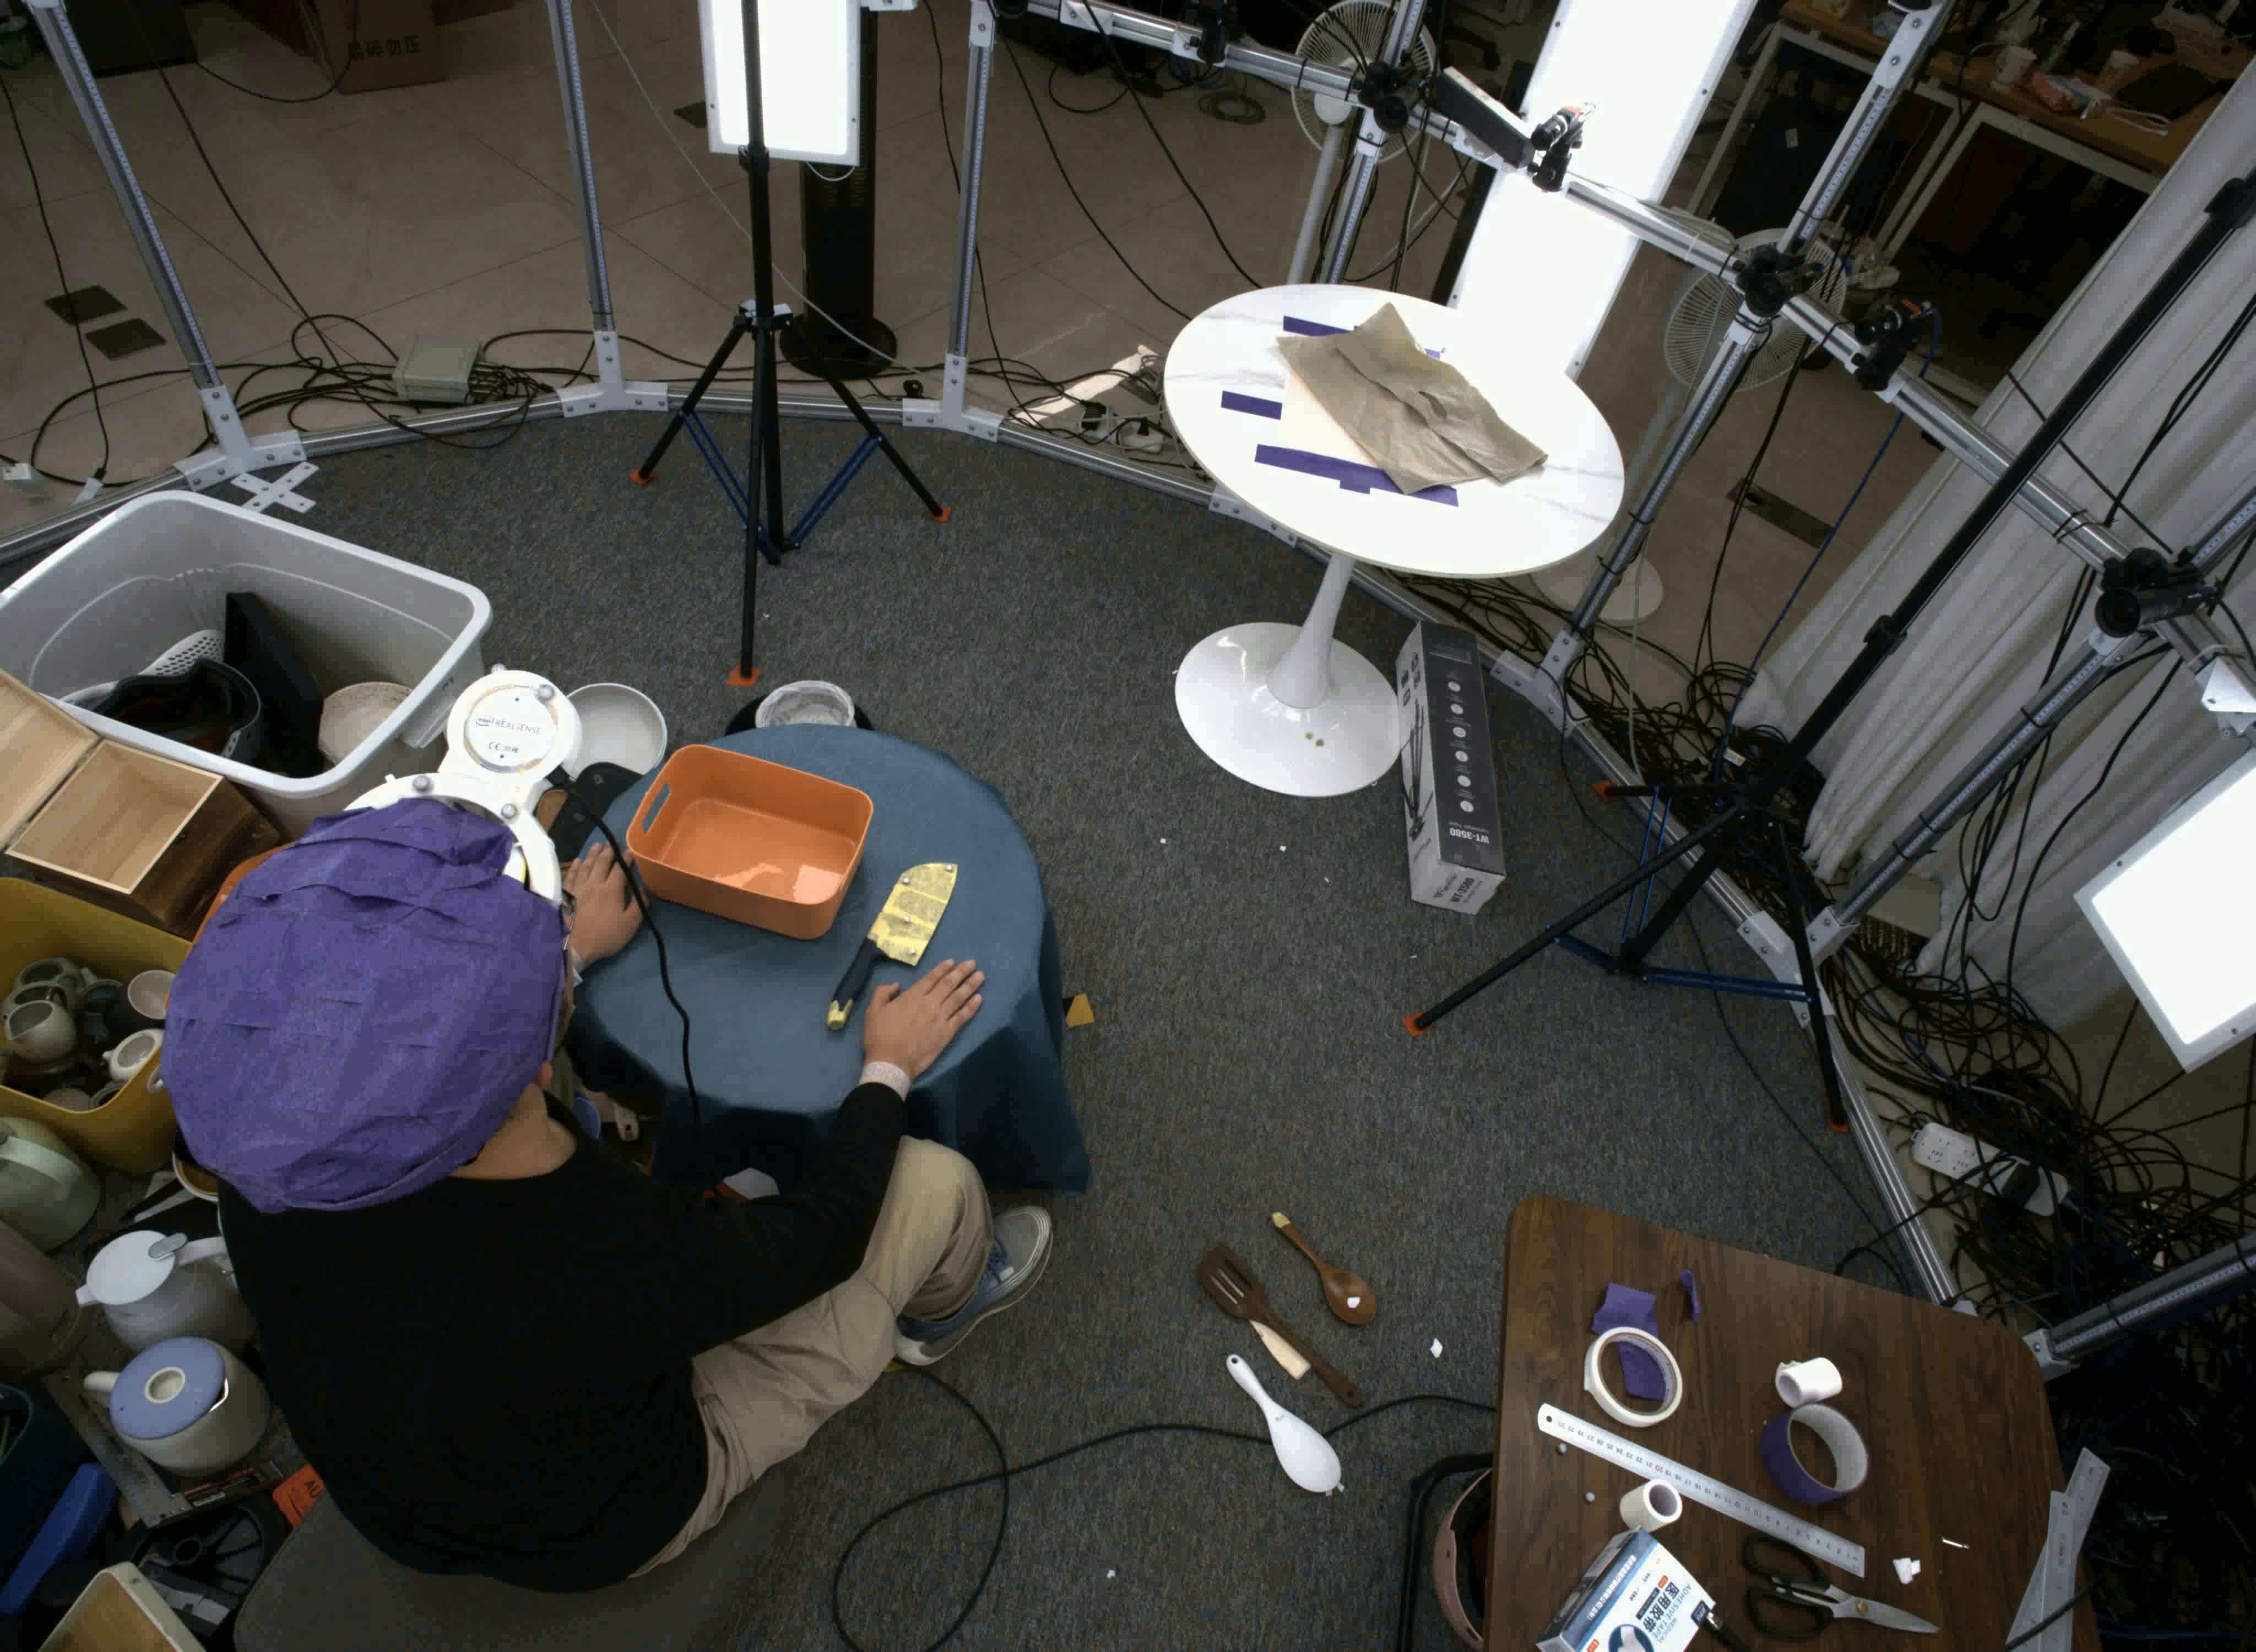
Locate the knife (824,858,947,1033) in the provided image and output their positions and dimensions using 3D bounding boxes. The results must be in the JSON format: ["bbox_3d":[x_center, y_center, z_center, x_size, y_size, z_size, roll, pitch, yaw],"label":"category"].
[{"bbox_3d":[-0.301,0.143,1.635,0.080,0.028,0.287,21,51,5],"label":"knife"}]

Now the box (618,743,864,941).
[{"bbox_3d":[-0.481,0.024,1.619,0.271,0.104,0.197,16,51,-3],"label":"box"}]
